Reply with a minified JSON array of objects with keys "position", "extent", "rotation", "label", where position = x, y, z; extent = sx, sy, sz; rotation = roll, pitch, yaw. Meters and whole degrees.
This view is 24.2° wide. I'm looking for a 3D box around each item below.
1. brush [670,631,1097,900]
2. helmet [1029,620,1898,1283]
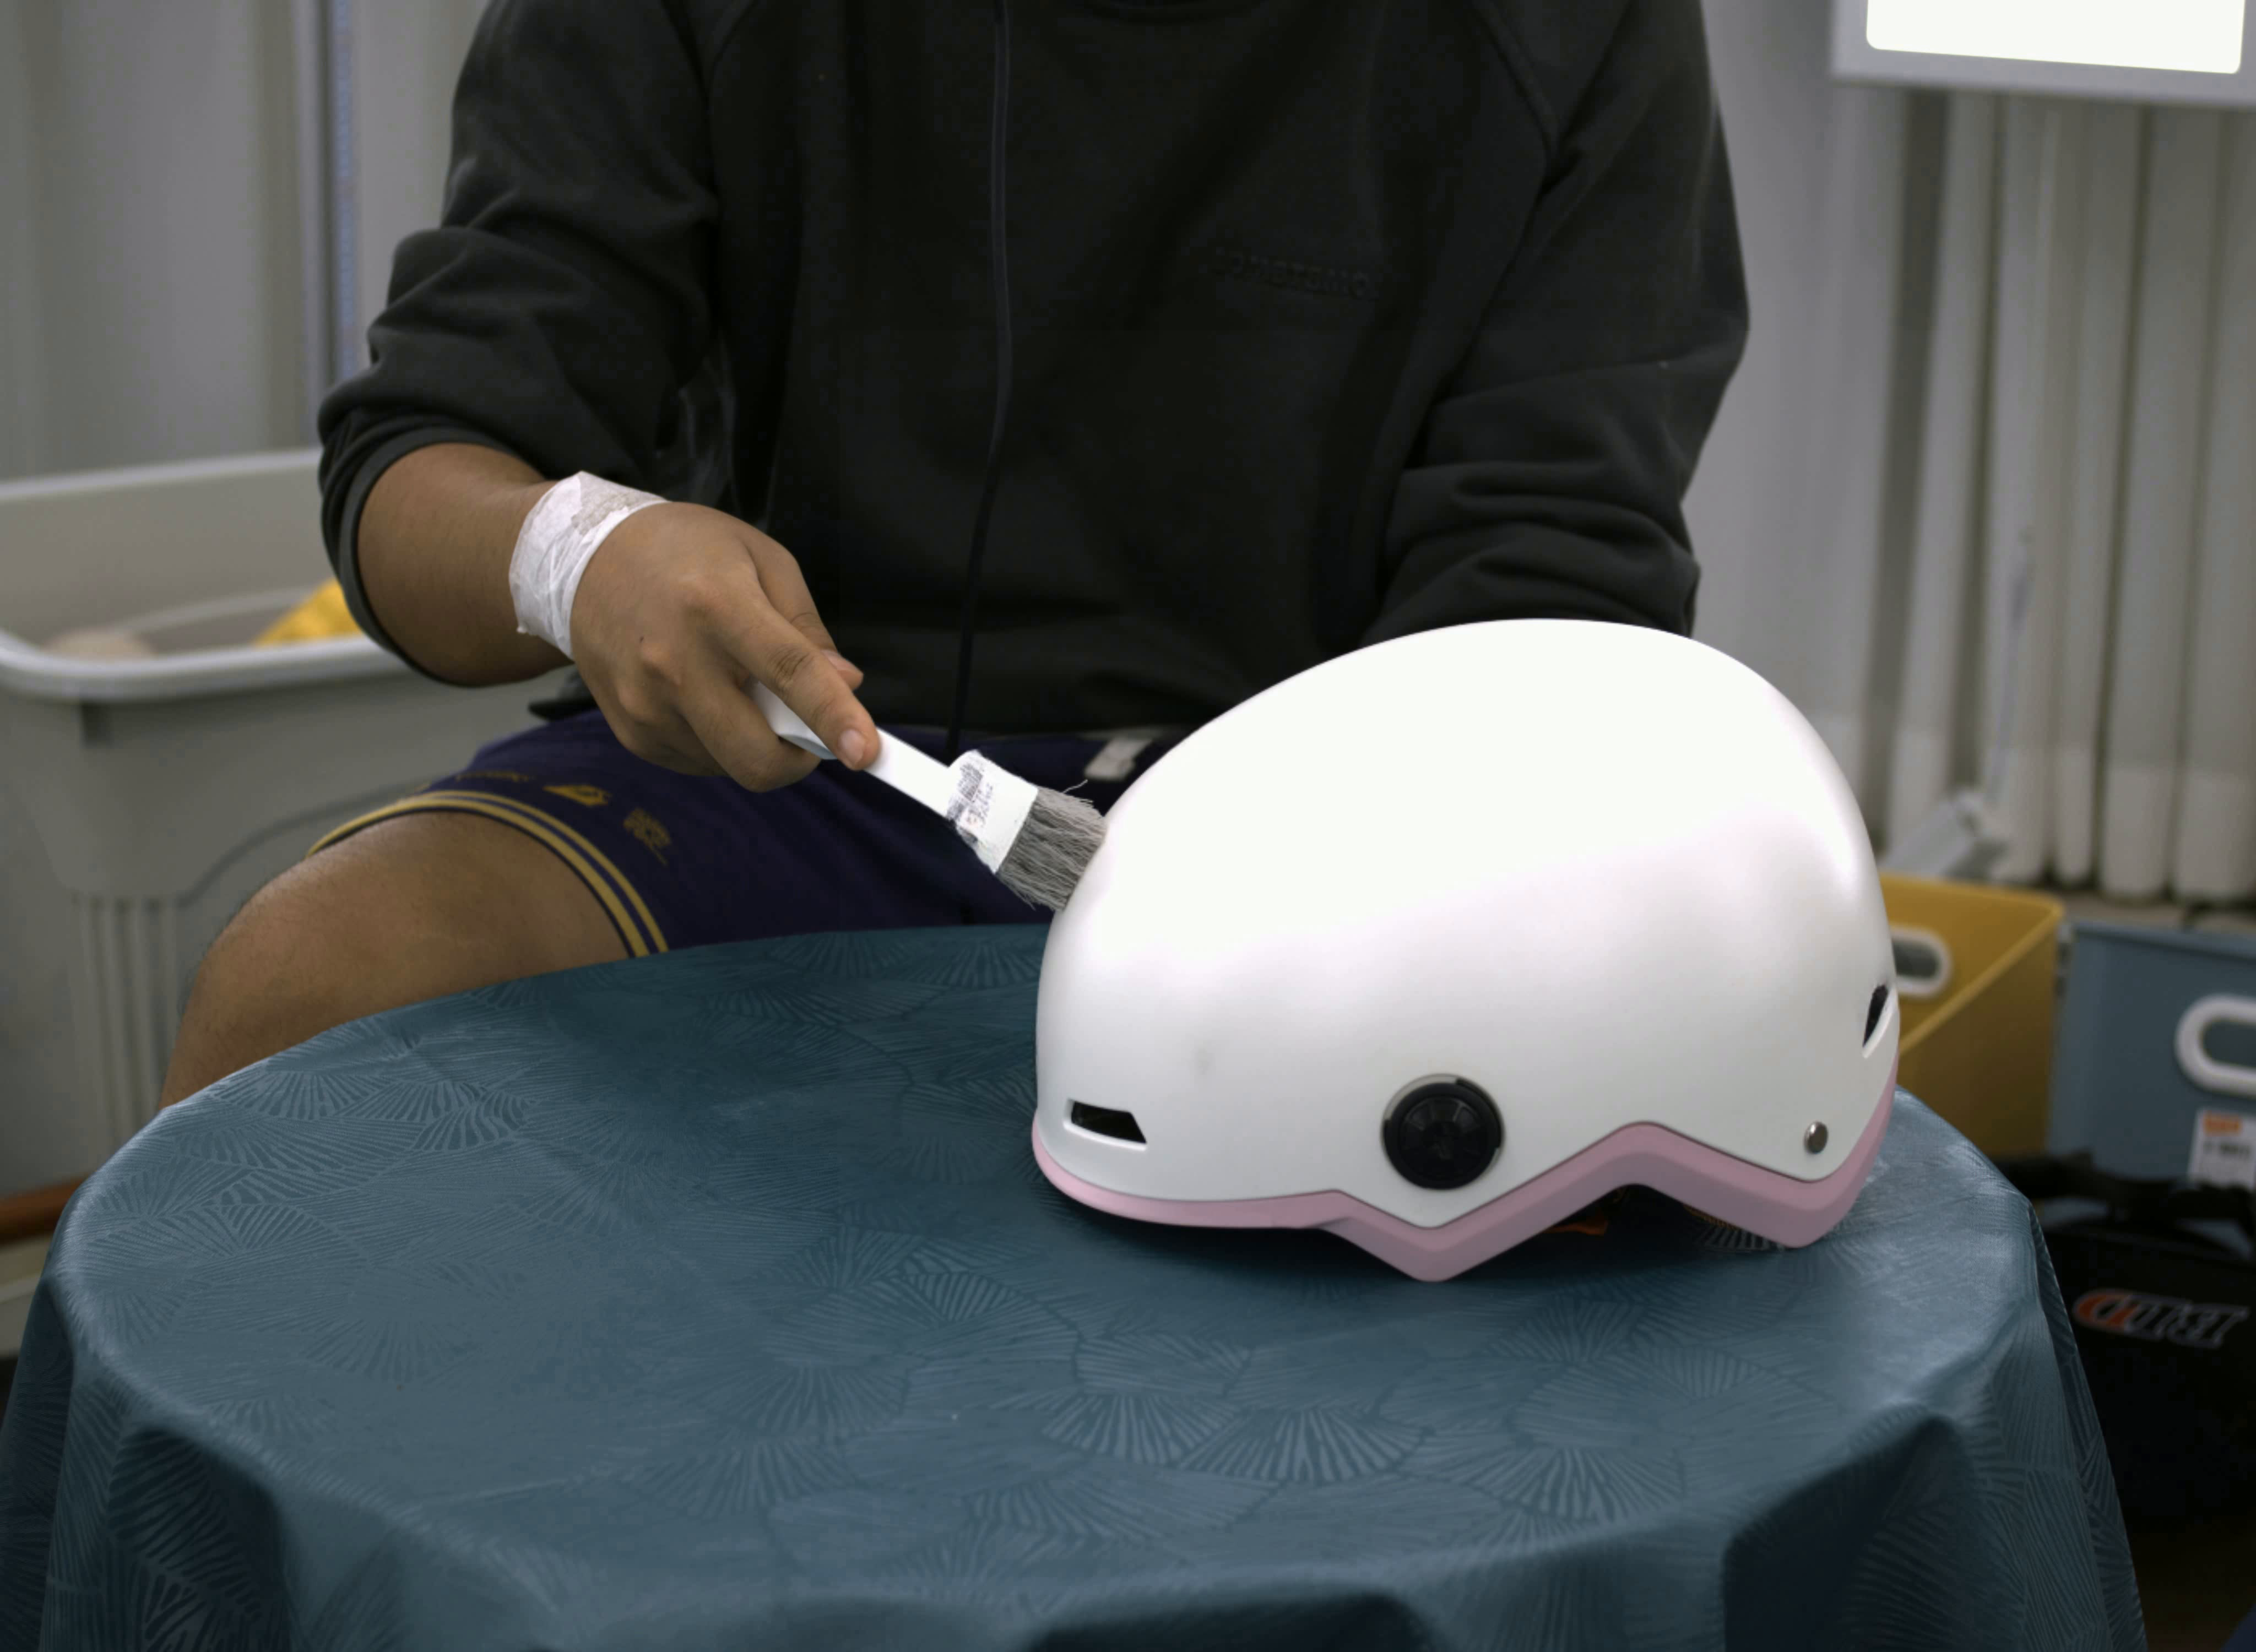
[{"position":[-0.079,-0.021,1.699],"extent":[0.051,0.034,0.240],"rotation":[28,-1,-33],"label":"brush"},{"position":[0.104,0.023,1.618],"extent":[0.268,0.168,0.235],"rotation":[0,20,-5],"label":"helmet"}]
